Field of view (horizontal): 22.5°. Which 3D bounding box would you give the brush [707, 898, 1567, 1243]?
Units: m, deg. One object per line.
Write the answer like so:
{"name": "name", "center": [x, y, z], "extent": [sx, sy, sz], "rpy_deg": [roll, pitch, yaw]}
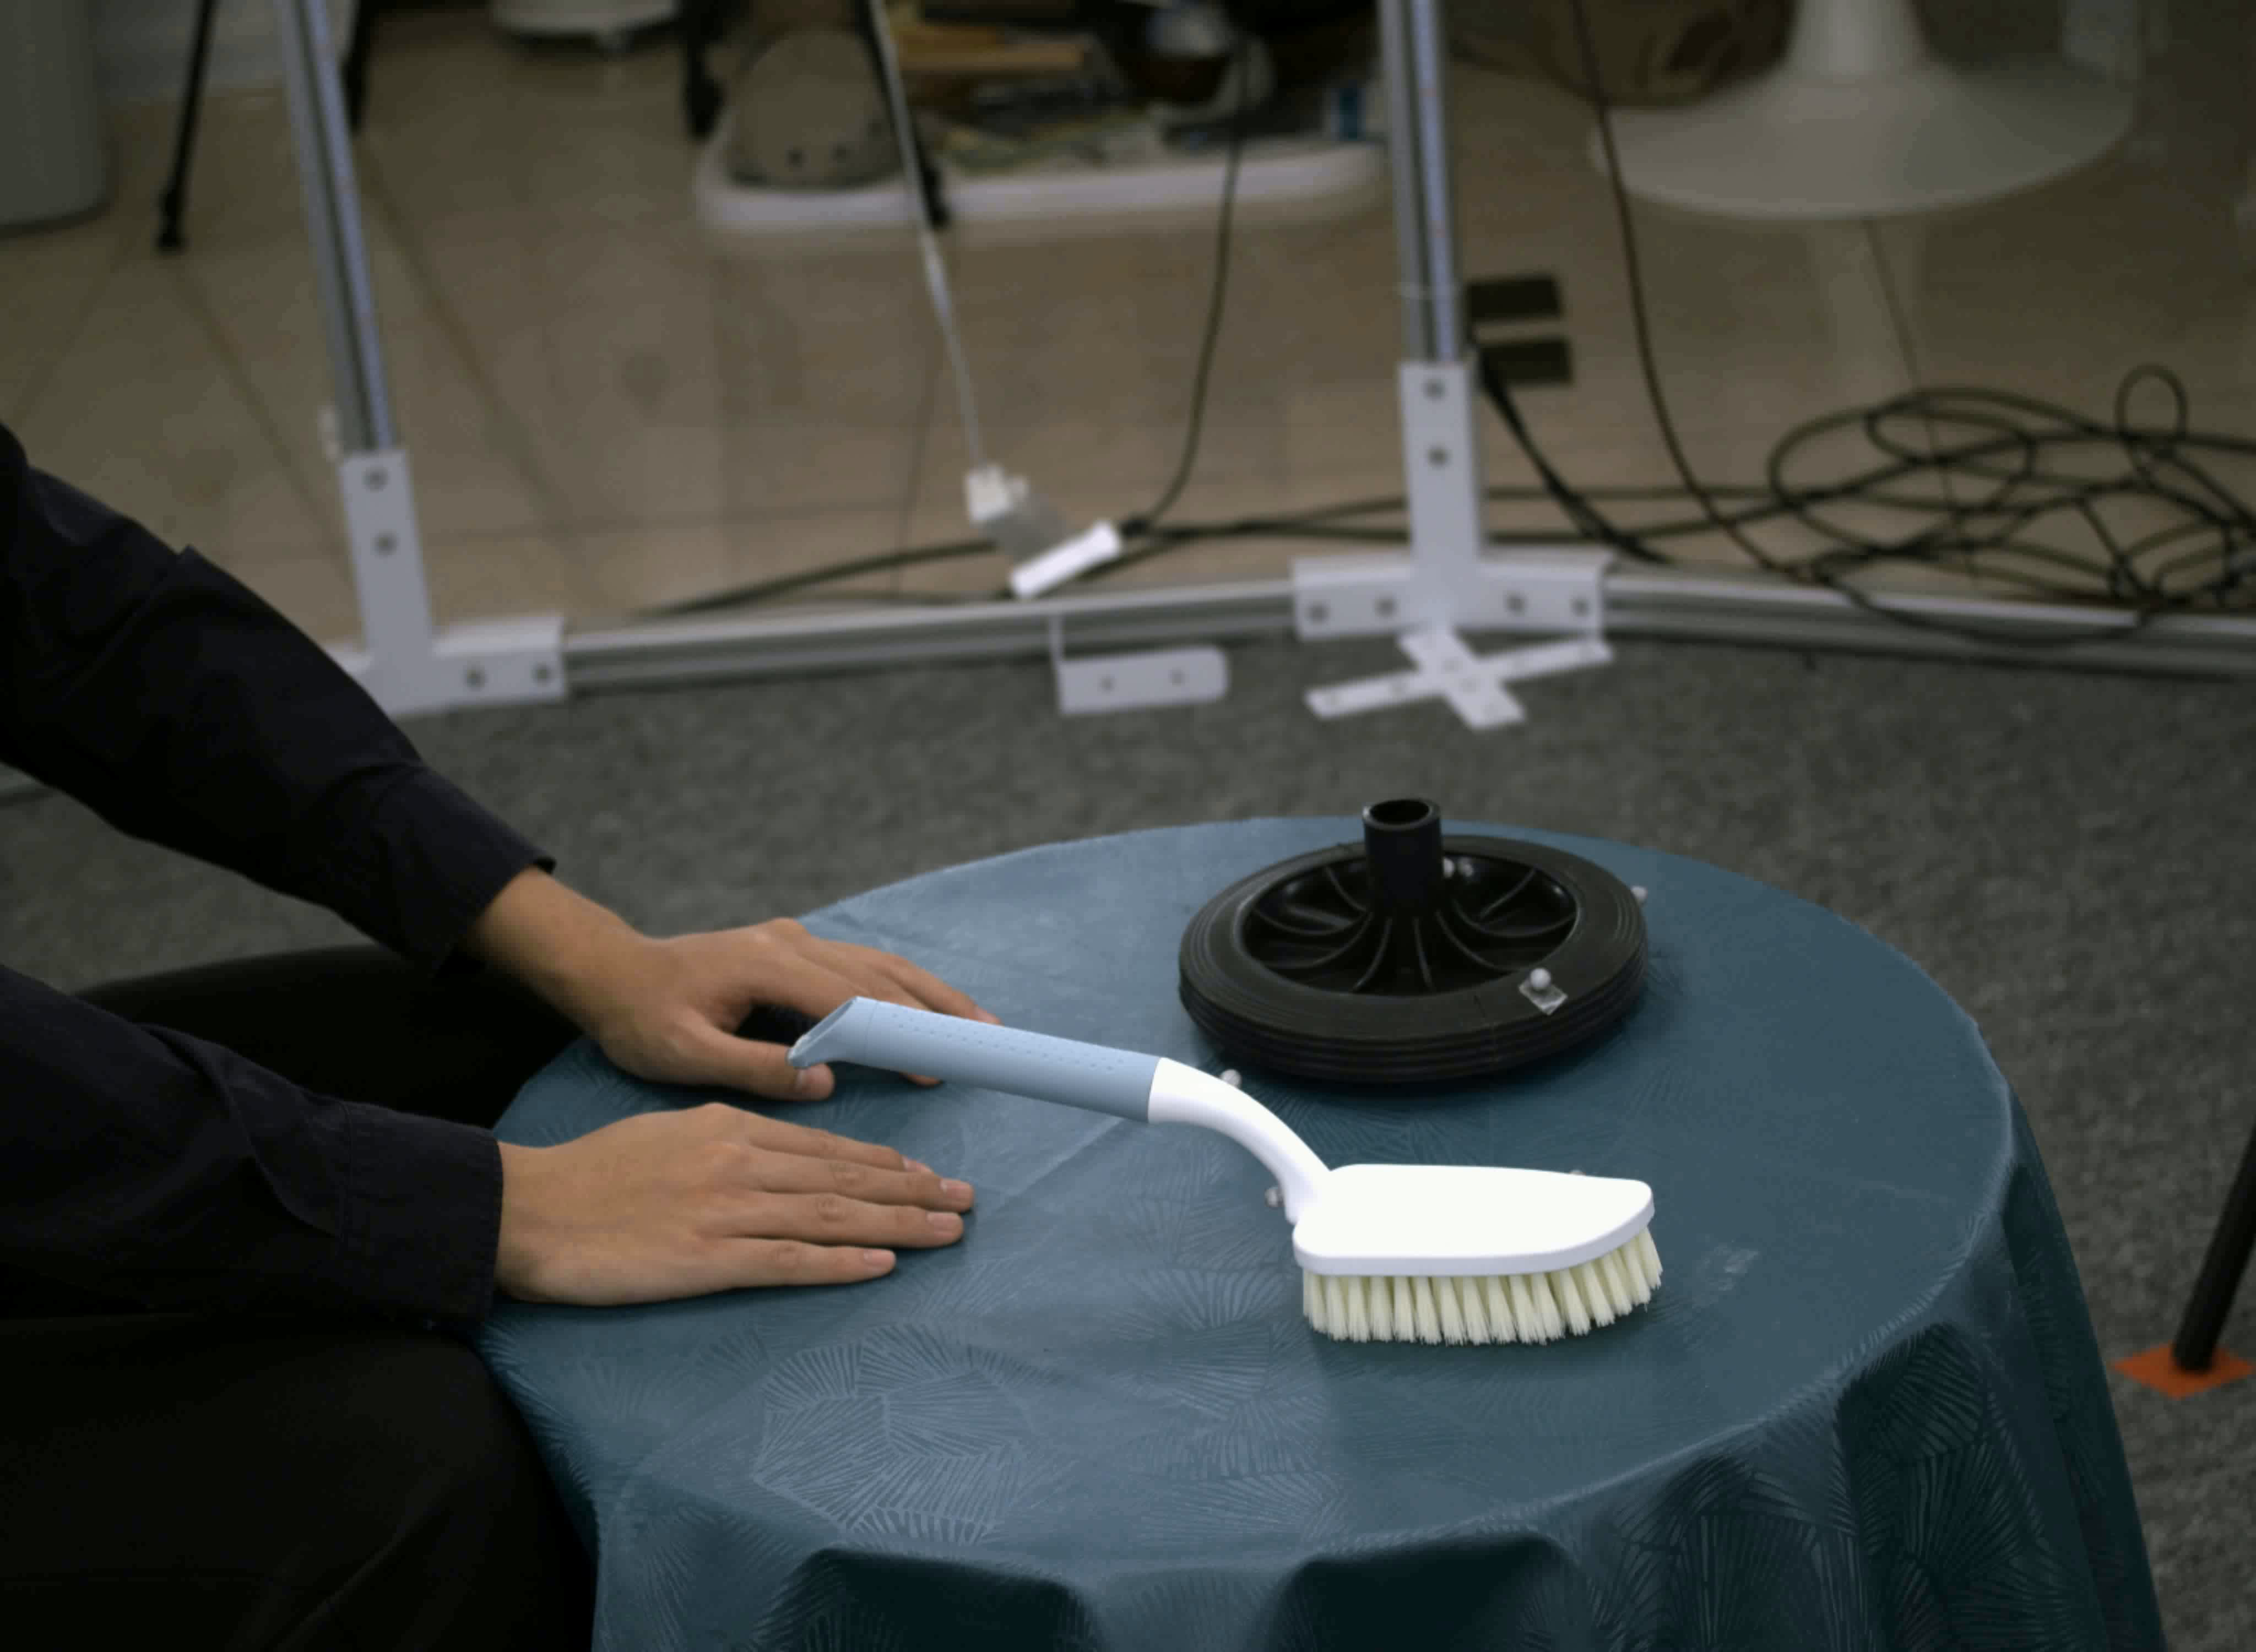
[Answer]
{"name": "brush", "center": [0.000, 0.100, 2.080], "extent": [0.324, 0.084, 0.083], "rpy_deg": [12, -8, 9]}

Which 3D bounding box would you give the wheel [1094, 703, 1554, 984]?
{"name": "wheel", "center": [0.076, -0.007, 2.287], "extent": [0.186, 0.080, 0.188], "rpy_deg": [17, 35, 38]}
